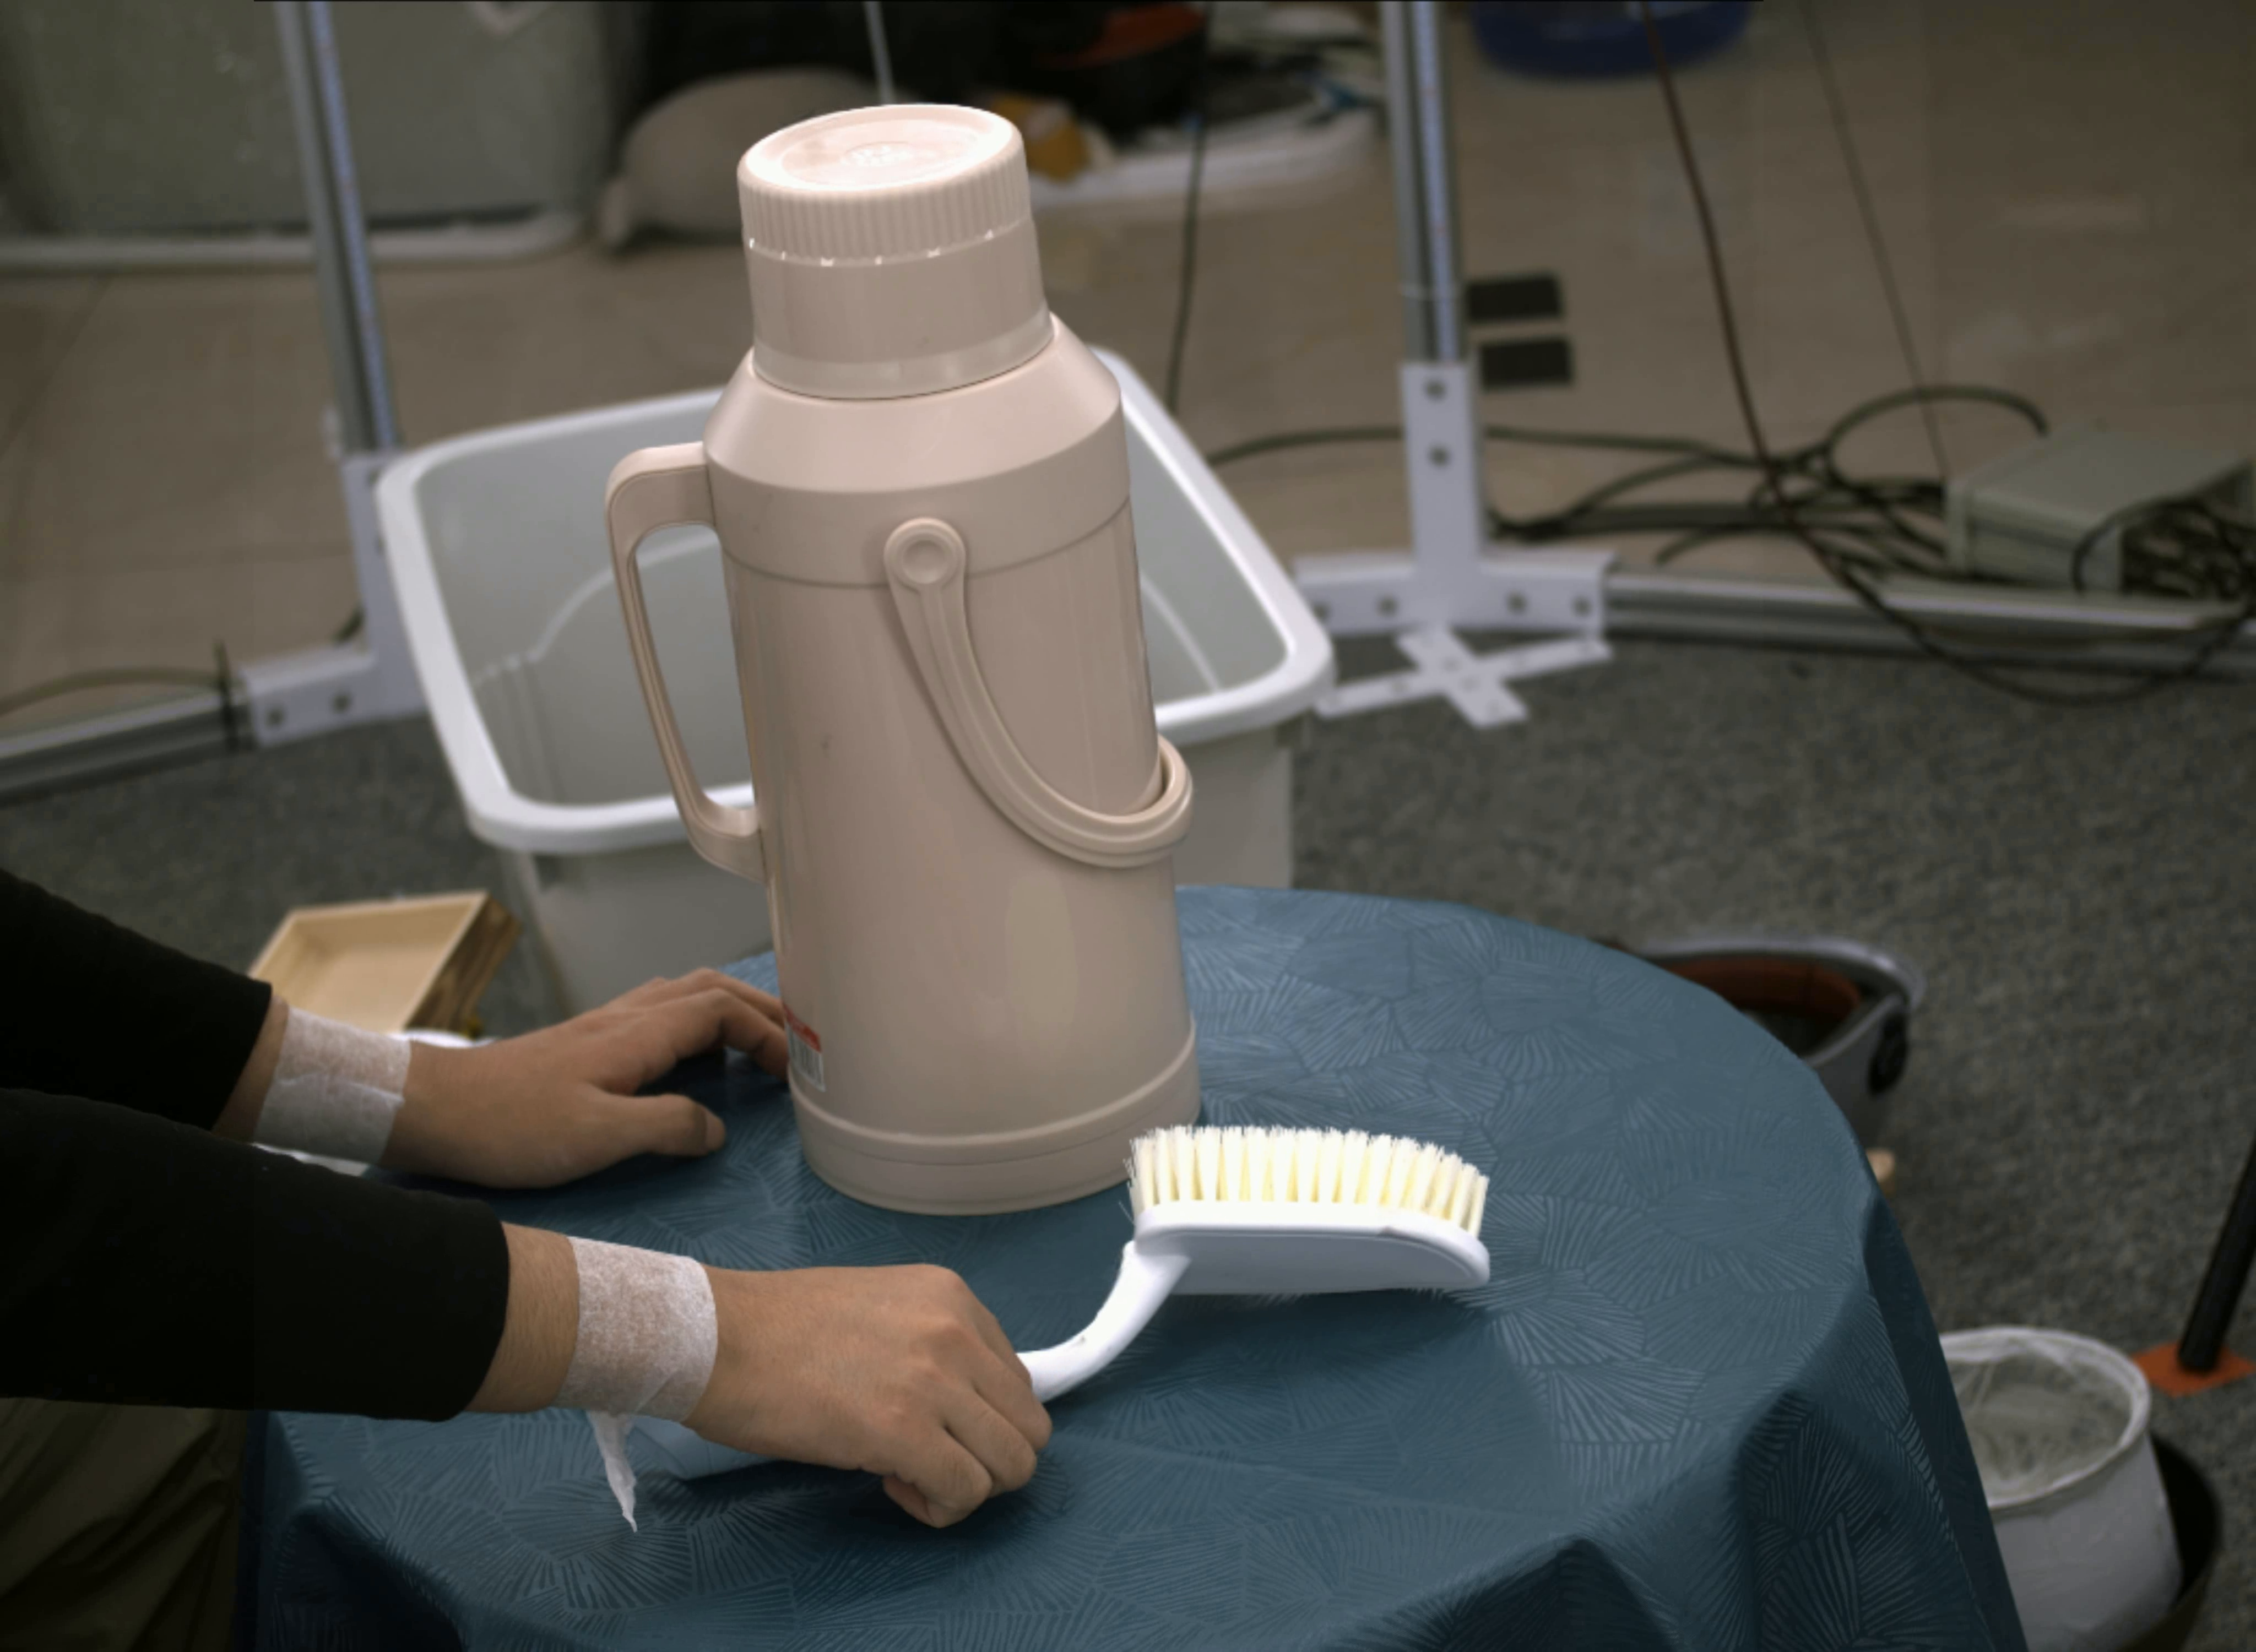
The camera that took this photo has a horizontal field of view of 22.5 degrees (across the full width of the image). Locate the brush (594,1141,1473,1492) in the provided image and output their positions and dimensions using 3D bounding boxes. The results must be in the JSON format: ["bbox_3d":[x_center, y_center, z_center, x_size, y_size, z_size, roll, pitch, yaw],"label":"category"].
[{"bbox_3d":[-0.035,0.159,2.020,0.324,0.084,0.083,-10,28,-9],"label":"brush"}]

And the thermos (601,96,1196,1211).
[{"bbox_3d":[-0.085,-0.064,2.128,0.206,0.413,0.172,-7,27,-1],"label":"thermos"}]
